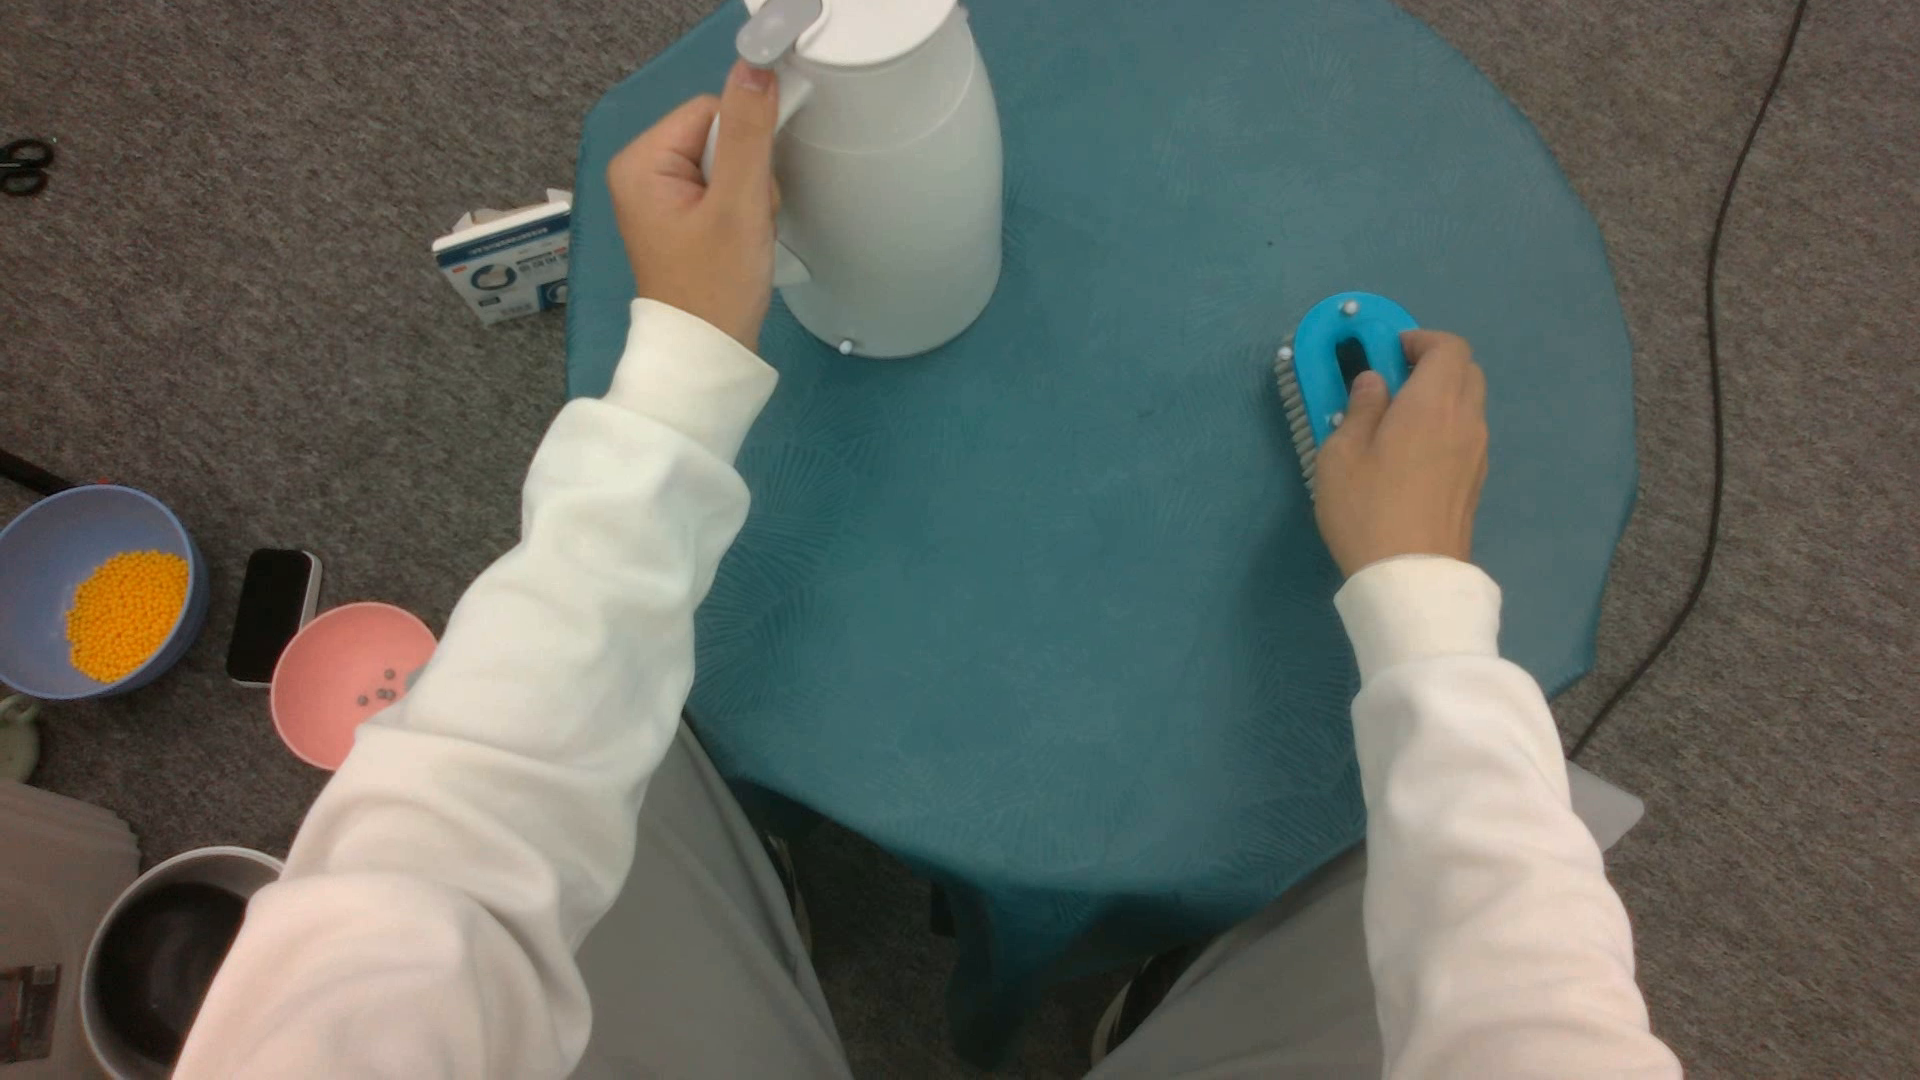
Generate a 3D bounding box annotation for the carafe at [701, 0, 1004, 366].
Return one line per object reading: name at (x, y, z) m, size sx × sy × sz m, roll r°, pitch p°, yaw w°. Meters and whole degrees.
carafe at (-0.055, -0.183, 0.686) m, size 0.132 × 0.248 × 0.168 m, roll 39°, pitch 78°, yaw 12°

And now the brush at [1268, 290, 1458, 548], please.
brush at (0.222, -0.071, 0.739) m, size 0.084 × 0.063 × 0.142 m, roll -8°, pitch 76°, yaw -8°
